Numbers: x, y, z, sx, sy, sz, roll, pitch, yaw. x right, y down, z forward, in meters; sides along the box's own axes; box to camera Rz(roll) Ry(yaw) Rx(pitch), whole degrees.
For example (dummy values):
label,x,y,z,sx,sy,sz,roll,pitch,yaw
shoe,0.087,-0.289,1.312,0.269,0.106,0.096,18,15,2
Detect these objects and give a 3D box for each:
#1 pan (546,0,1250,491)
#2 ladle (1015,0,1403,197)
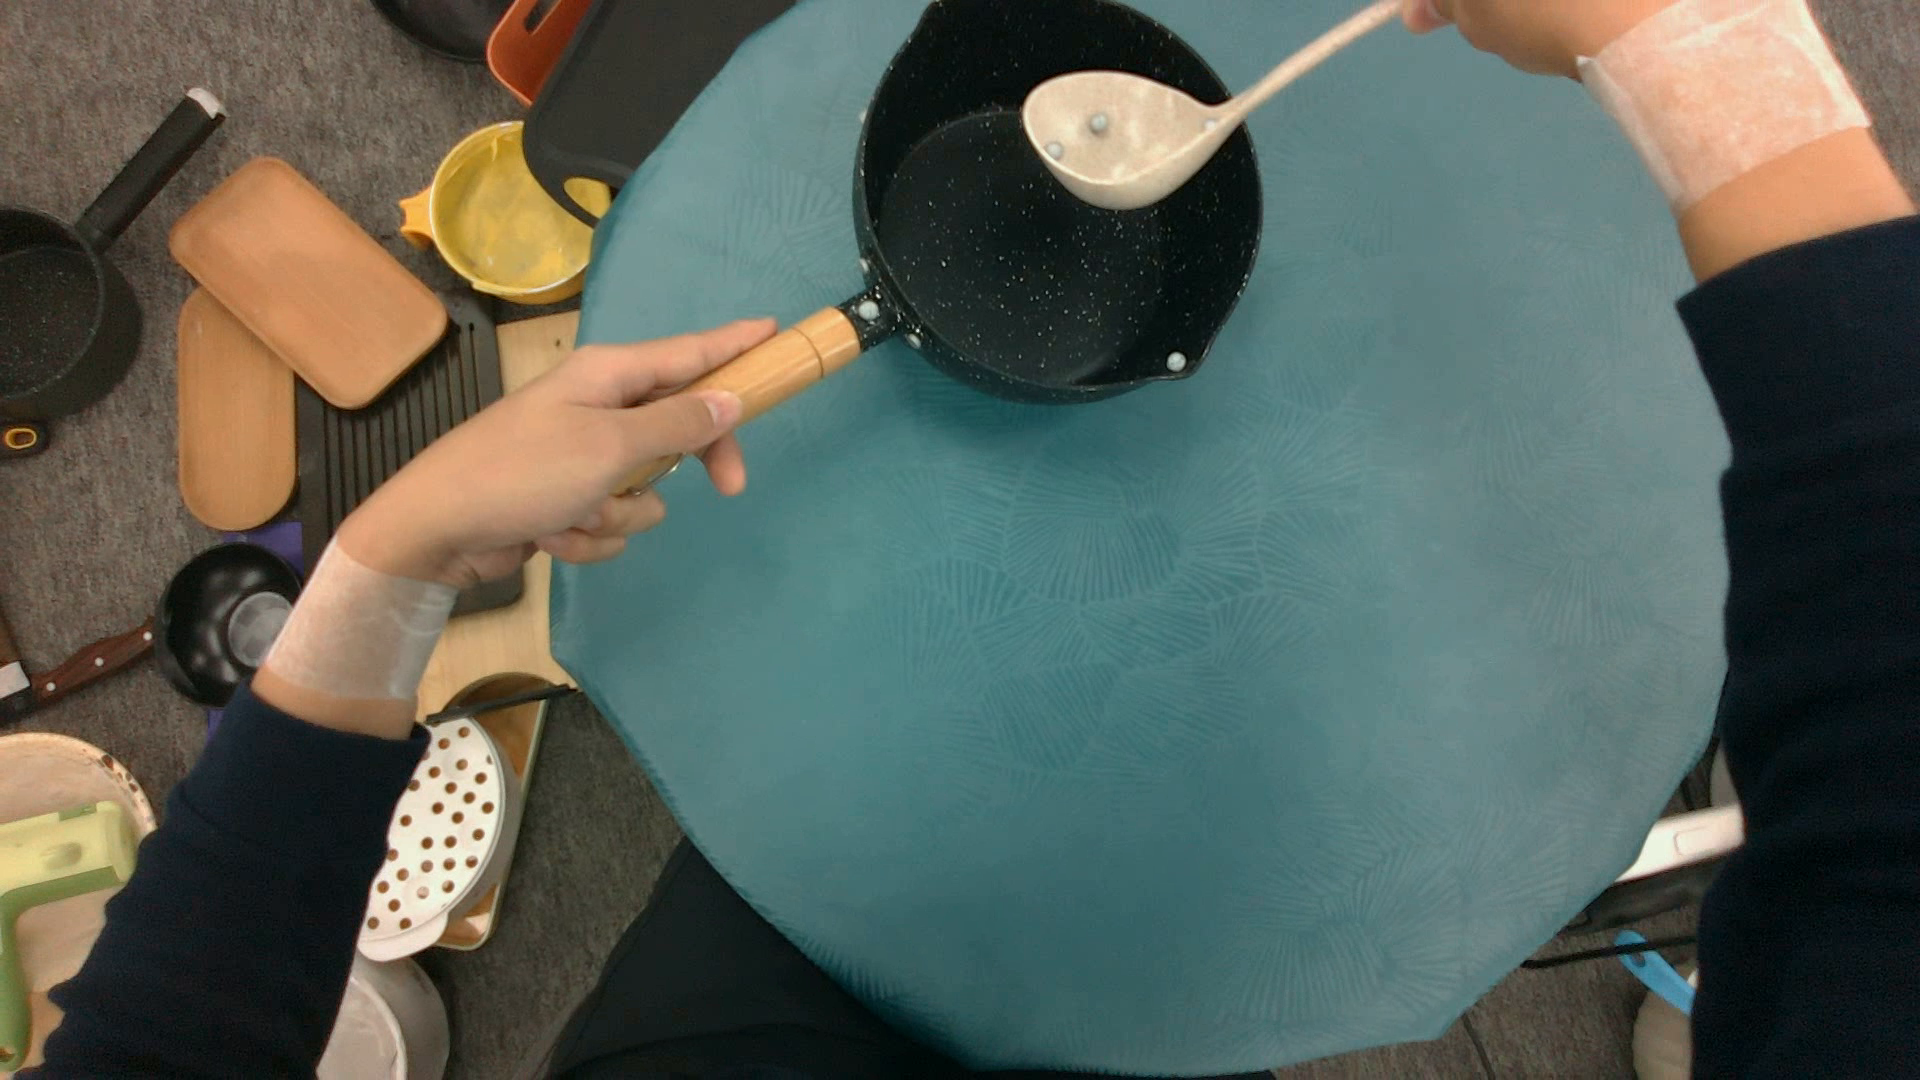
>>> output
label,x,y,z,sx,sy,sz,roll,pitch,yaw
pan,-0.027,-0.113,0.611,0.344,0.108,0.207,-36,92,-16
ladle,0.136,-0.214,0.533,0.069,0.273,0.090,53,47,-15
